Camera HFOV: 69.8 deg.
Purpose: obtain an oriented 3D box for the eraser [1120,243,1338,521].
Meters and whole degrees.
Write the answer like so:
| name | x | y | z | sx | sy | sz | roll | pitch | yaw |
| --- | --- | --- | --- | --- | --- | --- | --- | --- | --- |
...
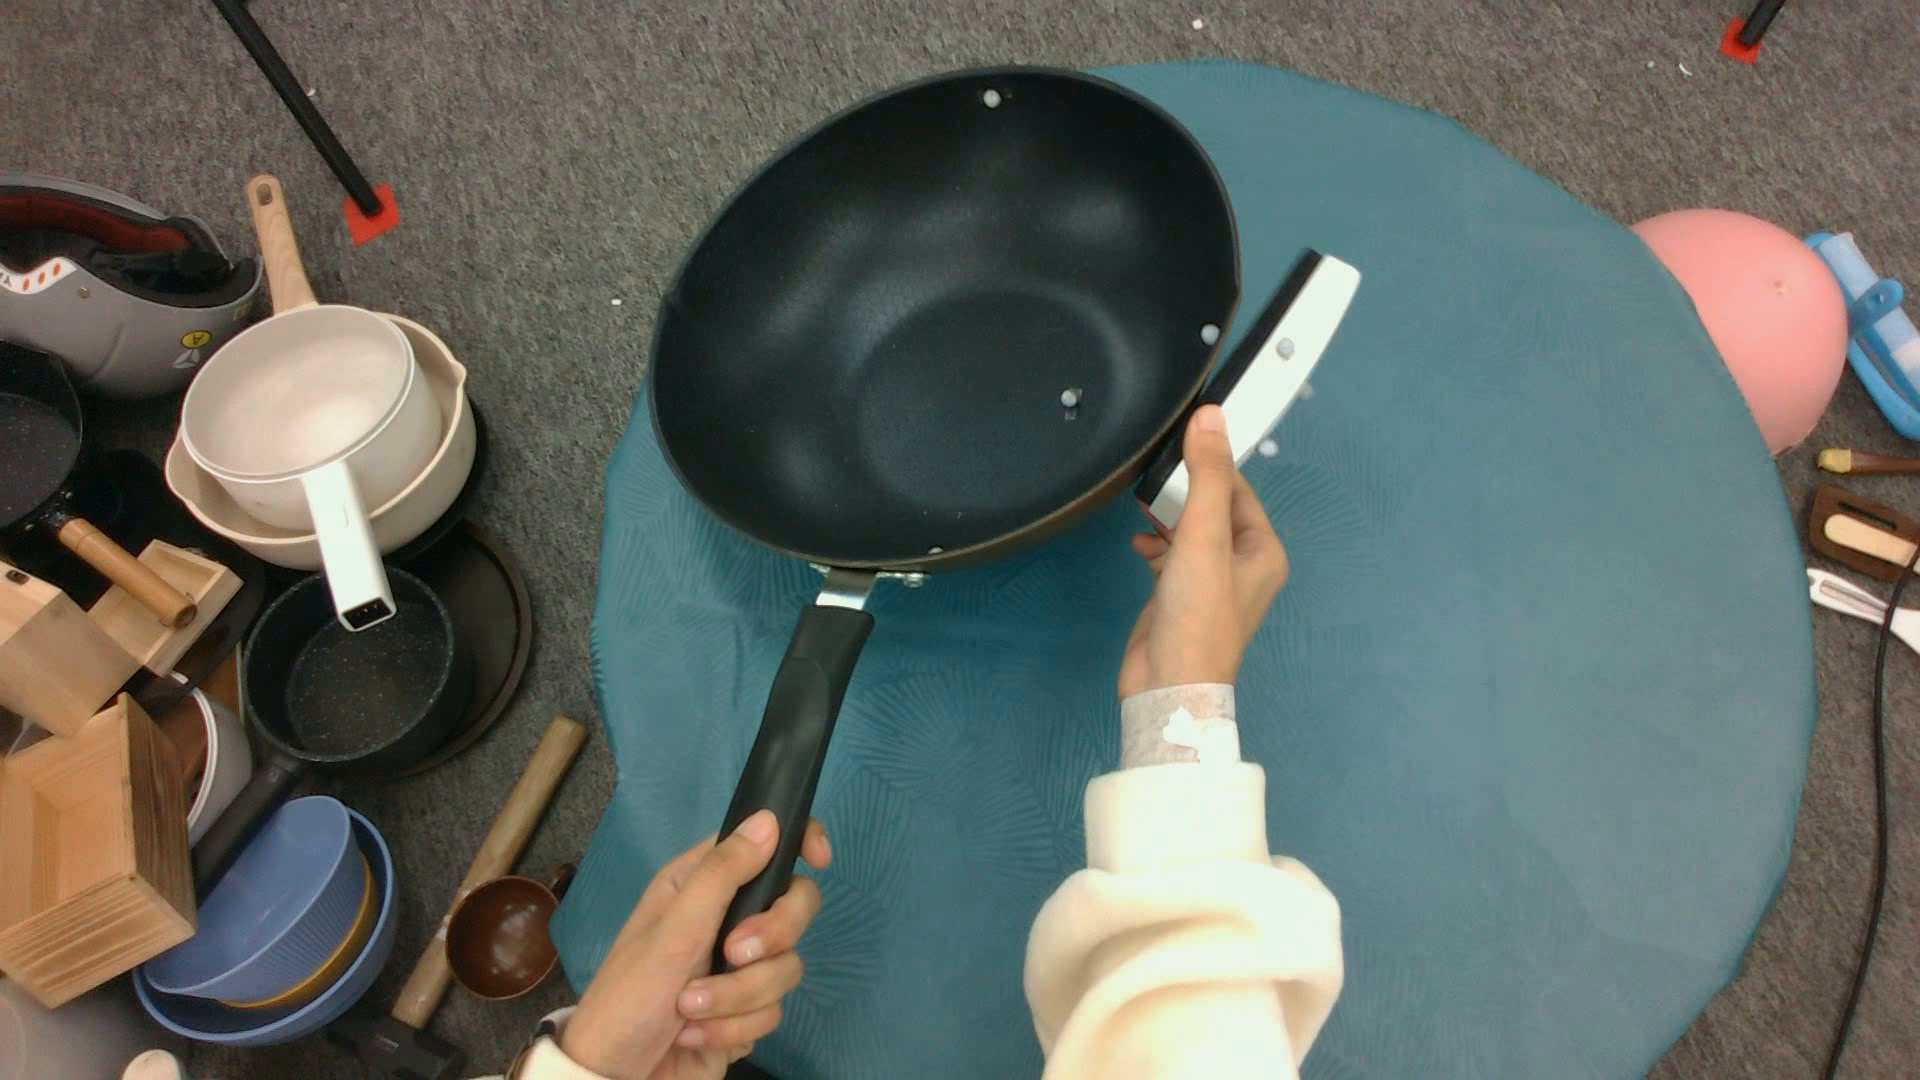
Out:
| name | x | y | z | sx | sy | sz | roll | pitch | yaw |
| --- | --- | --- | --- | --- | --- | --- | --- | --- | --- |
| eraser | 0.119 | -0.068 | 0.597 | 0.034 | 0.063 | 0.131 | 35 | 77 | 8 |

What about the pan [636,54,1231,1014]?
| name | x | y | z | sx | sy | sz | roll | pitch | yaw |
| --- | --- | --- | --- | --- | --- | --- | --- | --- | --- |
| pan | -0.032 | -0.018 | 0.618 | 0.287 | 0.086 | 0.465 | 5 | 64 | 22 |
